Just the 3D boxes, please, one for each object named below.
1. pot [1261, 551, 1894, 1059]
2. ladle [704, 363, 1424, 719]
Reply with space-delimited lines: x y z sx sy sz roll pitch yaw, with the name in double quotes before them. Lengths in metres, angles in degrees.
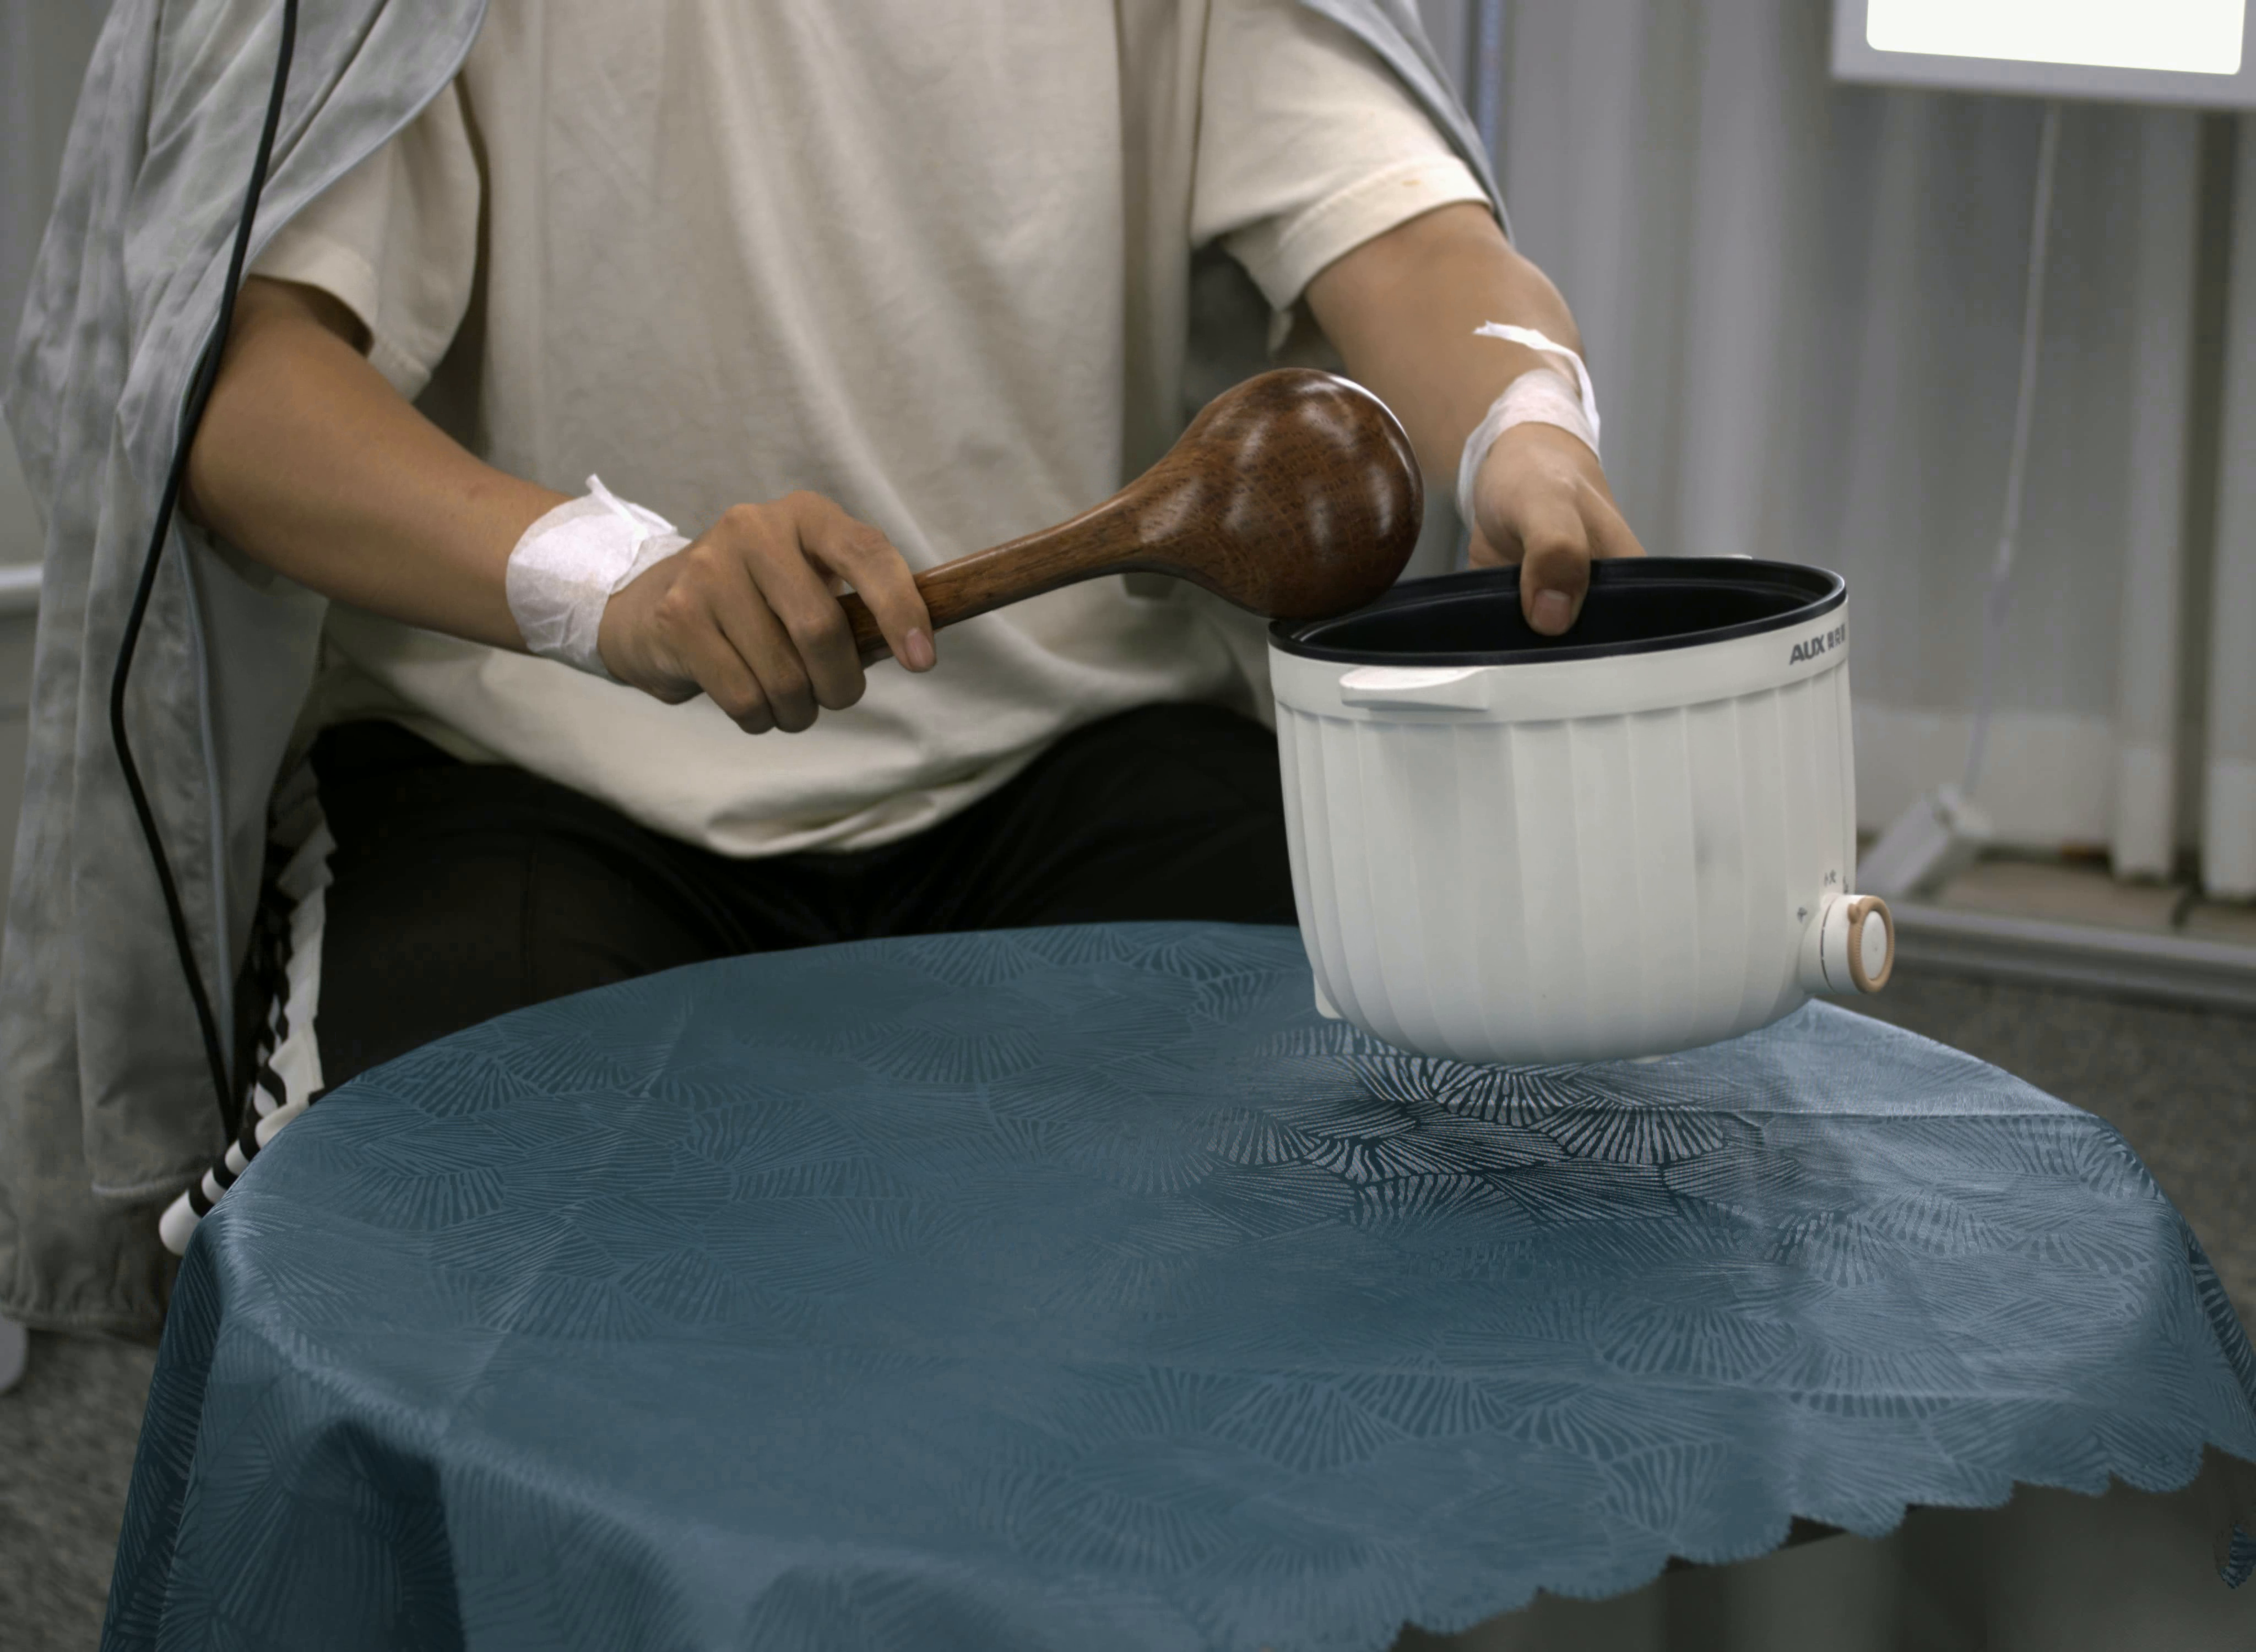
"pot" 0.143 -0.006 1.652 0.188 0.143 0.241 -2 12 31
"ladle" -0.022 -0.081 1.719 0.272 0.082 0.077 -19 -17 41
